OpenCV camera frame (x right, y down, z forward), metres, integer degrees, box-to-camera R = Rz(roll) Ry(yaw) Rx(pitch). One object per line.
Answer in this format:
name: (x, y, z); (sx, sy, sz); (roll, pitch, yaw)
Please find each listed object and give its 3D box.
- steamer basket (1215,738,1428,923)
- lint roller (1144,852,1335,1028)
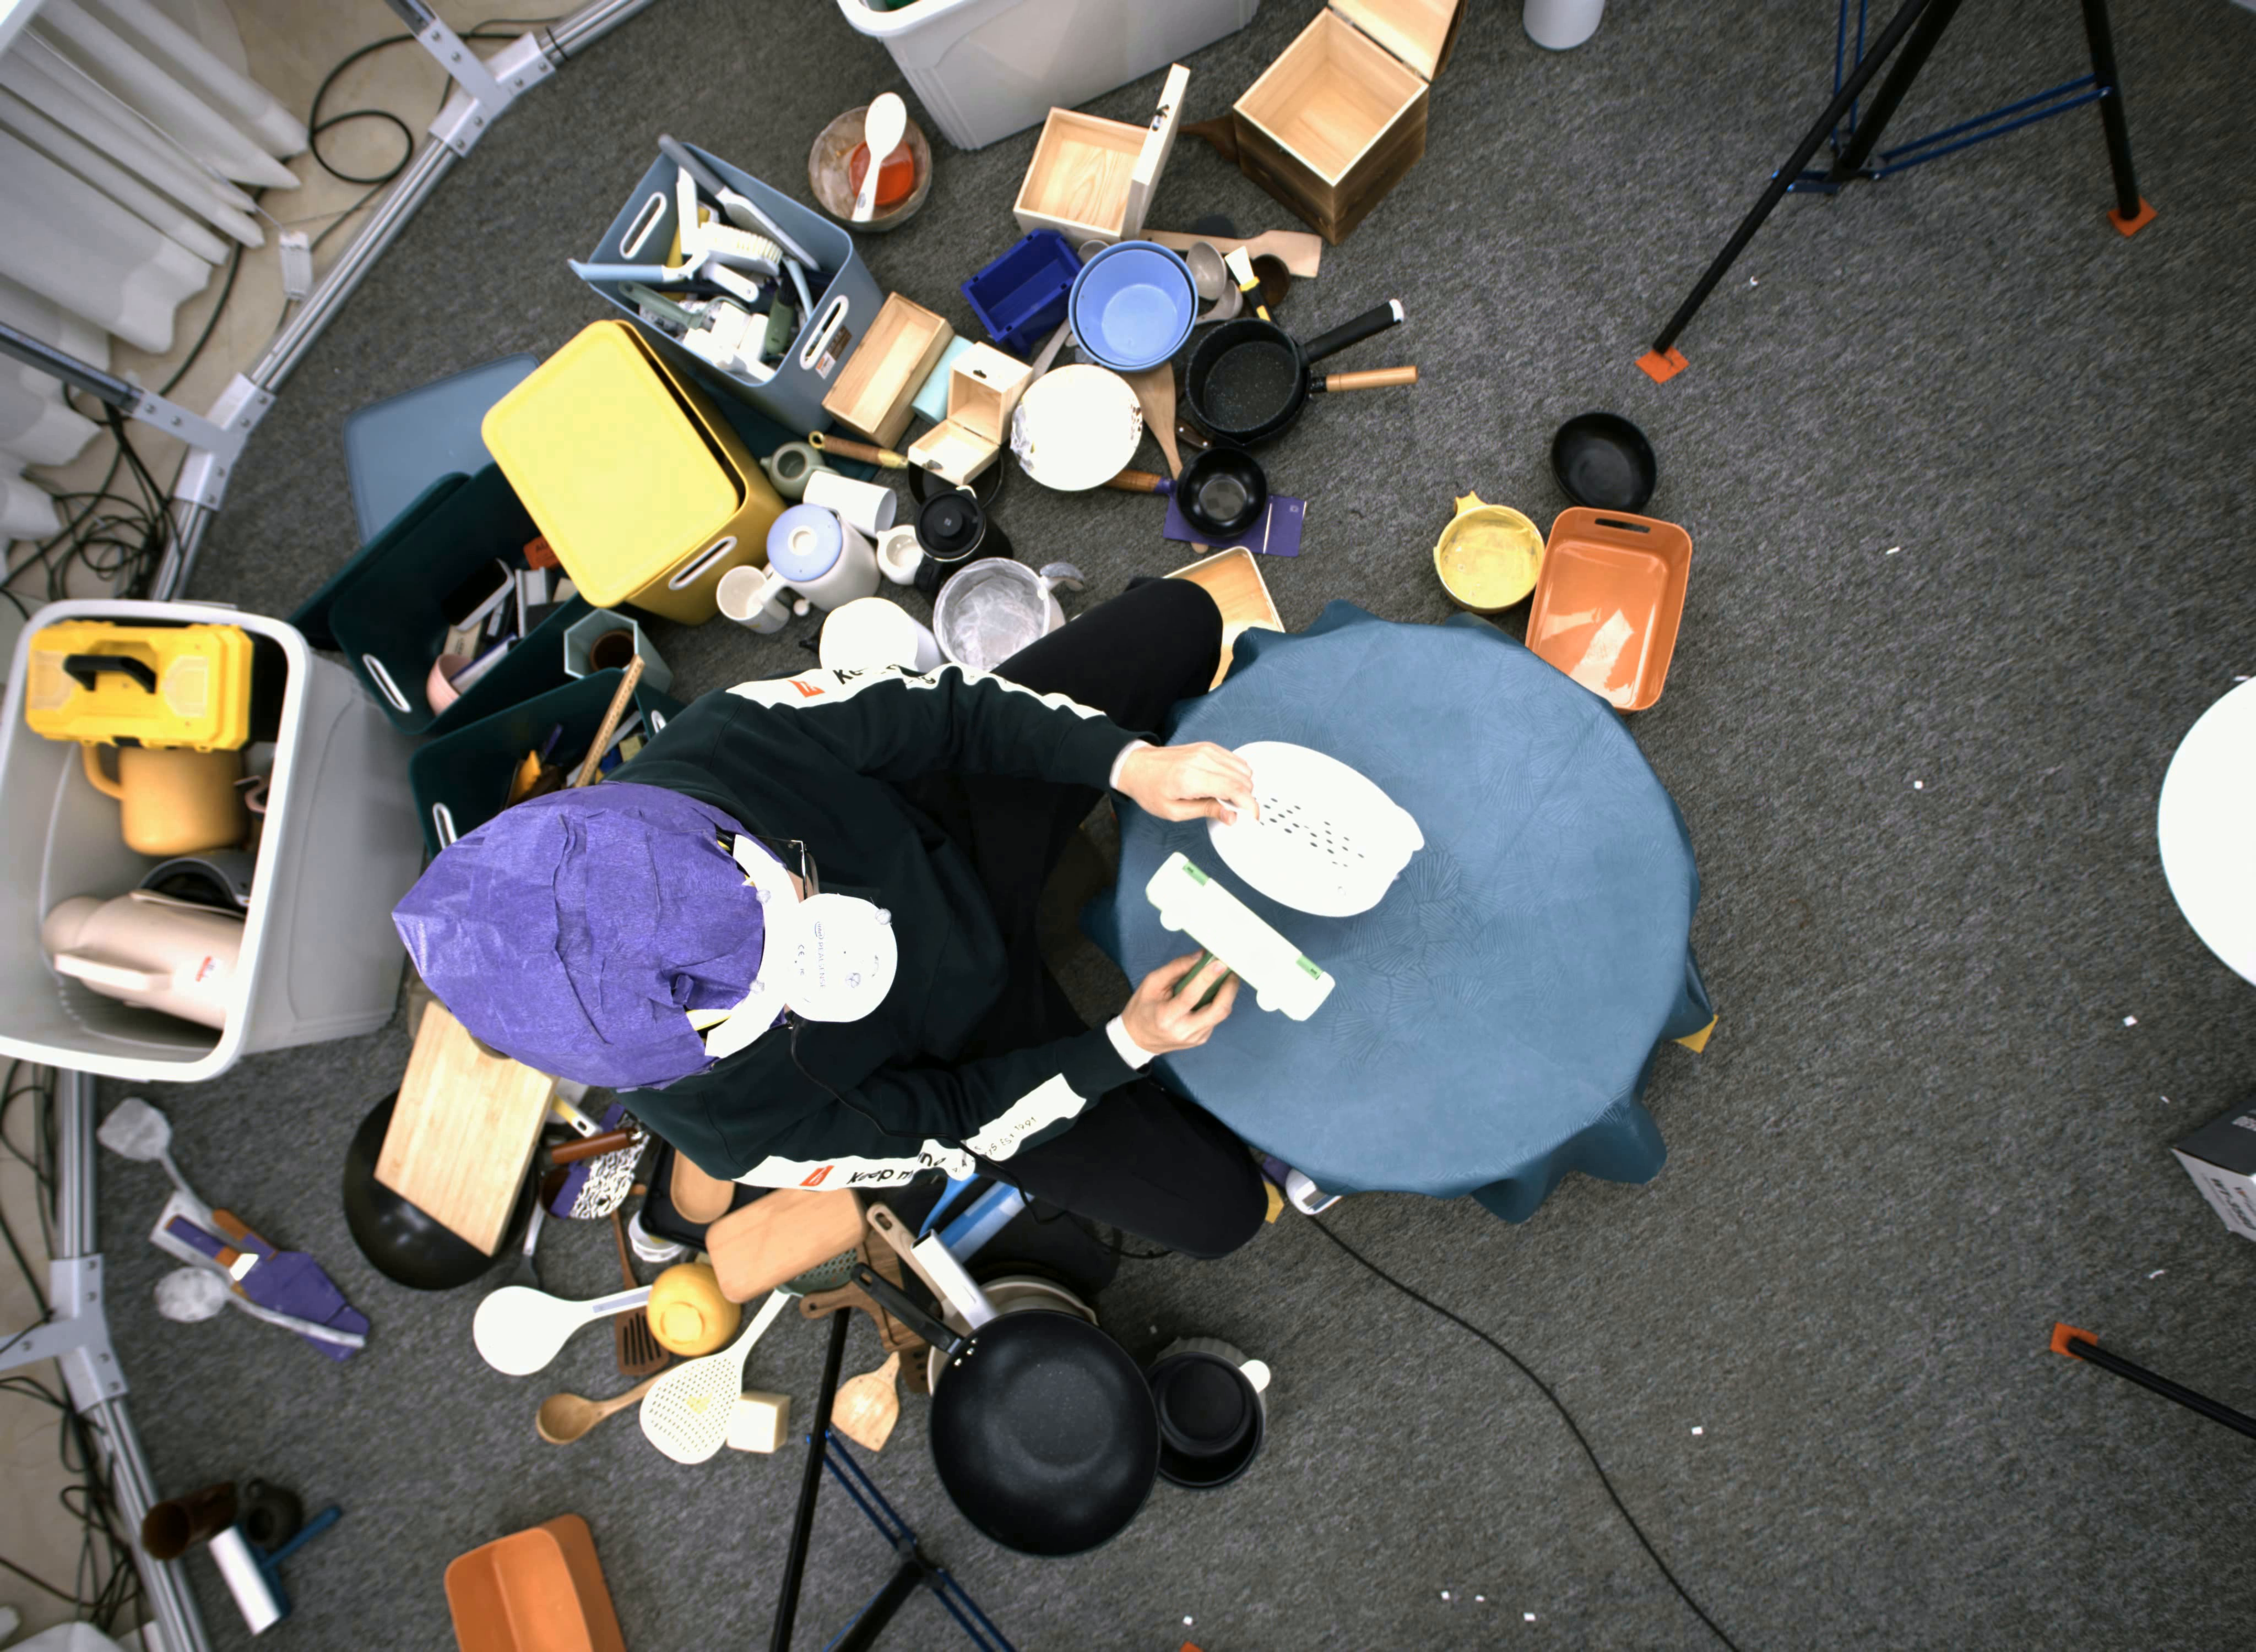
steamer basket: (0.179, 0.003, 1.337); (0.231, 0.197, 0.071); (18, 127, -22)
lint roller: (0.074, 0.146, 1.337); (0.198, 0.080, 0.187); (39, 122, 6)
